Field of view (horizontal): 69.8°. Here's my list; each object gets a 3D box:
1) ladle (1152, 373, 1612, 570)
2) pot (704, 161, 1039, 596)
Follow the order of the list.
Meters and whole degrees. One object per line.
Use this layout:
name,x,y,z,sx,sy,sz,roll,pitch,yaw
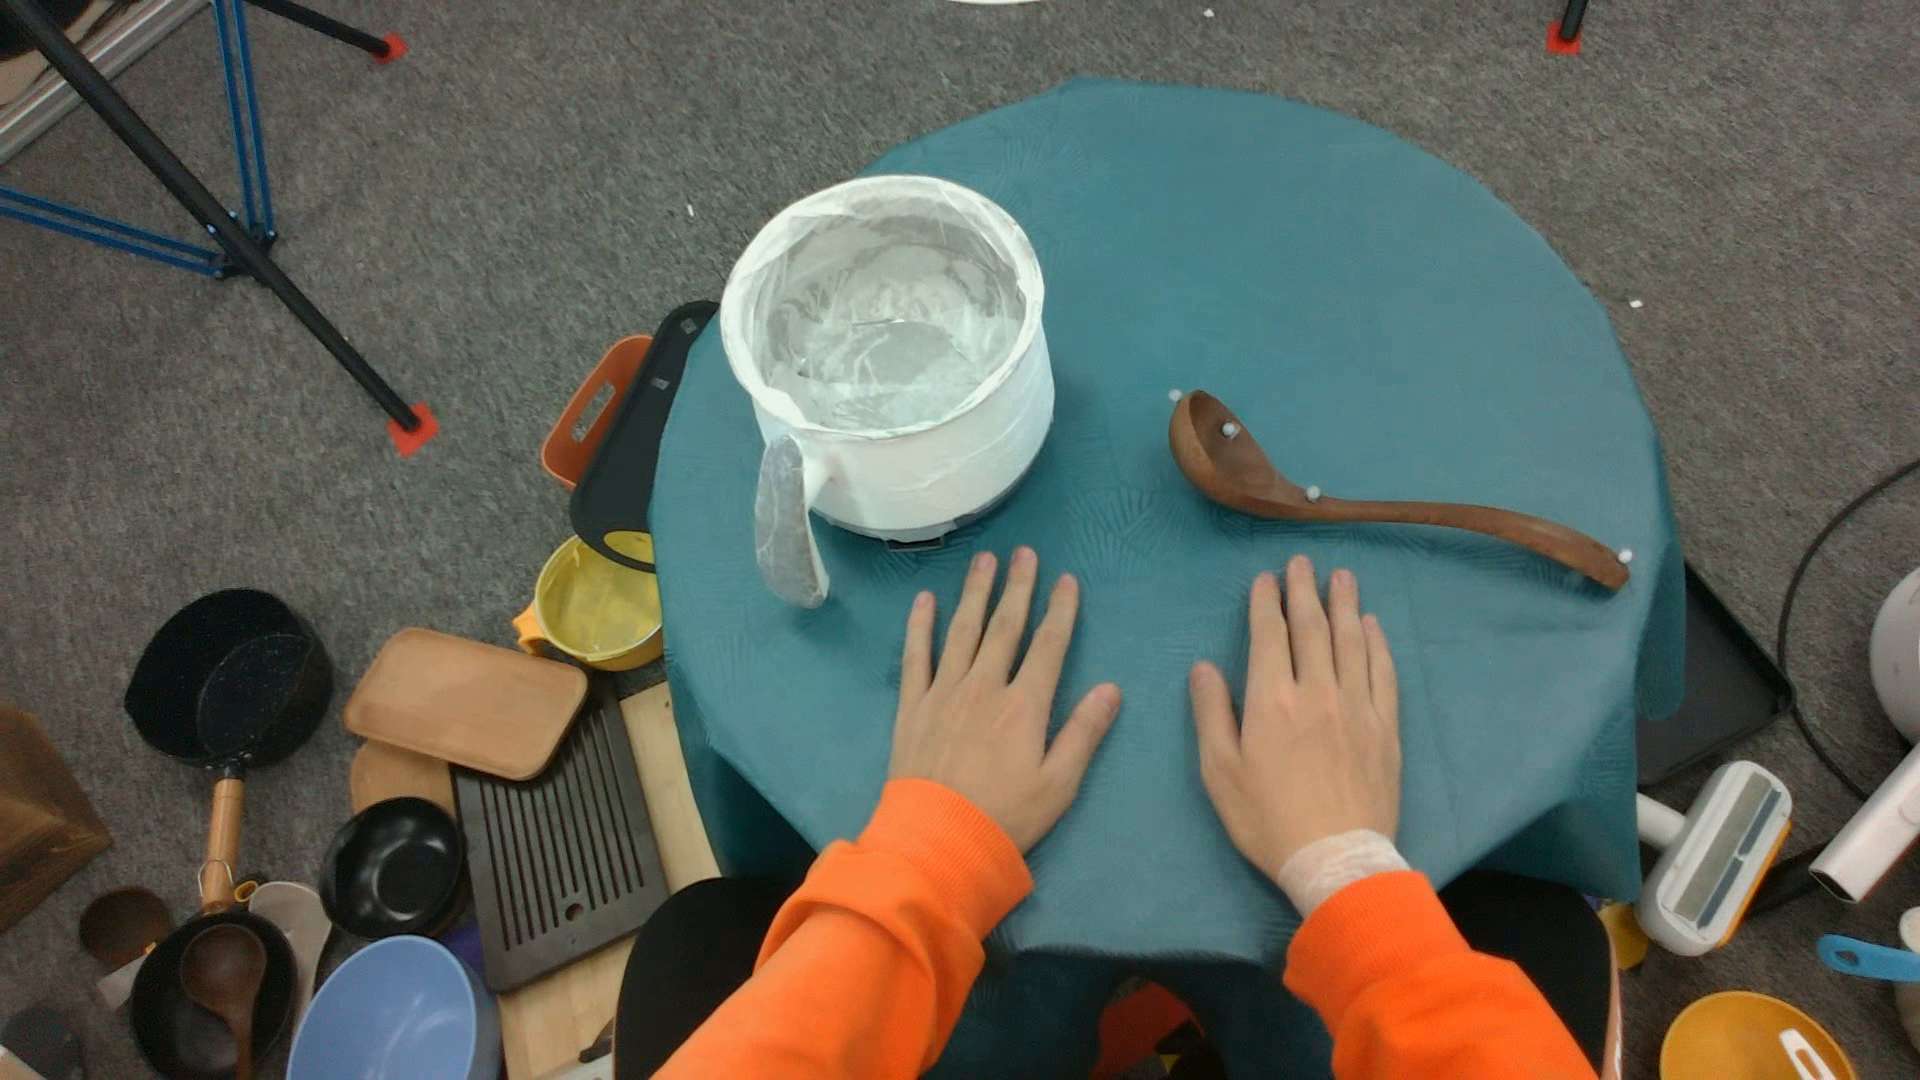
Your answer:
ladle,0.234,-0.038,0.770,0.260,0.065,0.077,12,38,14
pot,-0.057,-0.085,0.786,0.178,0.136,0.234,21,67,17
